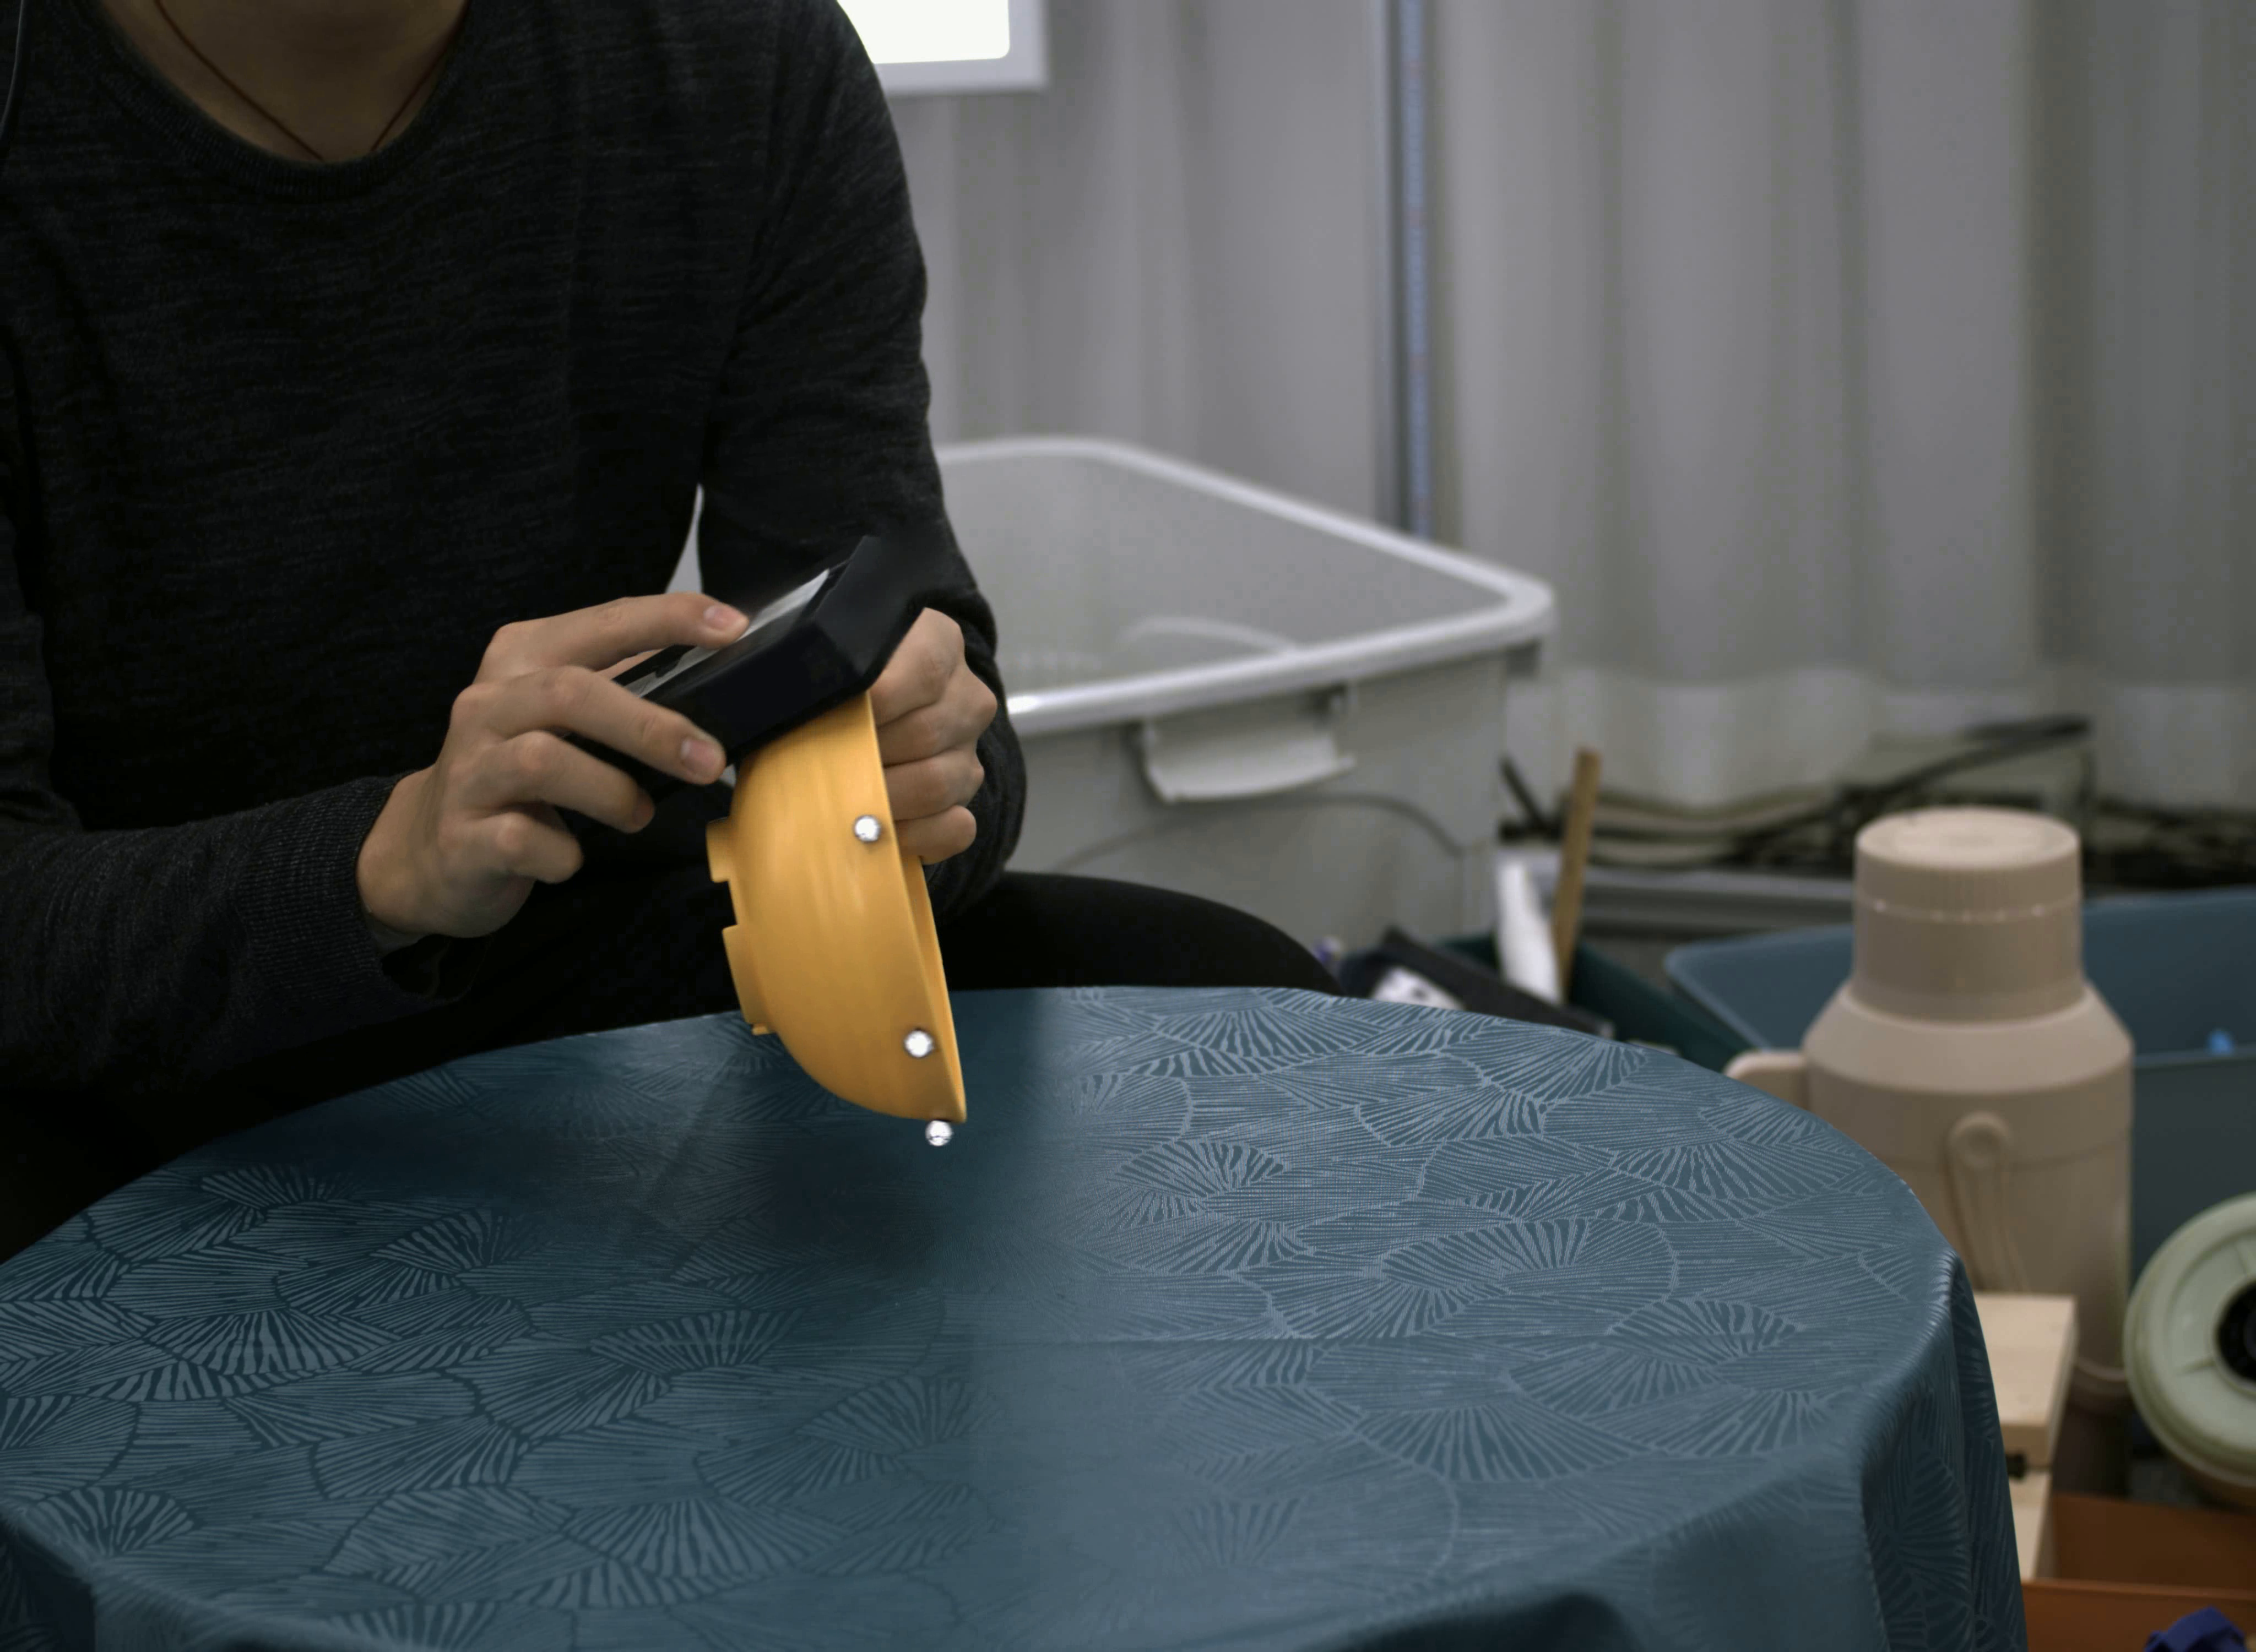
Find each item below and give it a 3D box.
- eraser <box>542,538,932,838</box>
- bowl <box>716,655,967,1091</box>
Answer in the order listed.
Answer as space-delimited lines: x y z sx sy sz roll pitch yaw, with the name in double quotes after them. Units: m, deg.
-0.118 -0.042 1.649 0.125 0.030 0.054 -29 15 31 "eraser"
-0.090 0.015 1.658 0.060 0.145 0.146 -11 15 -1 "bowl"
